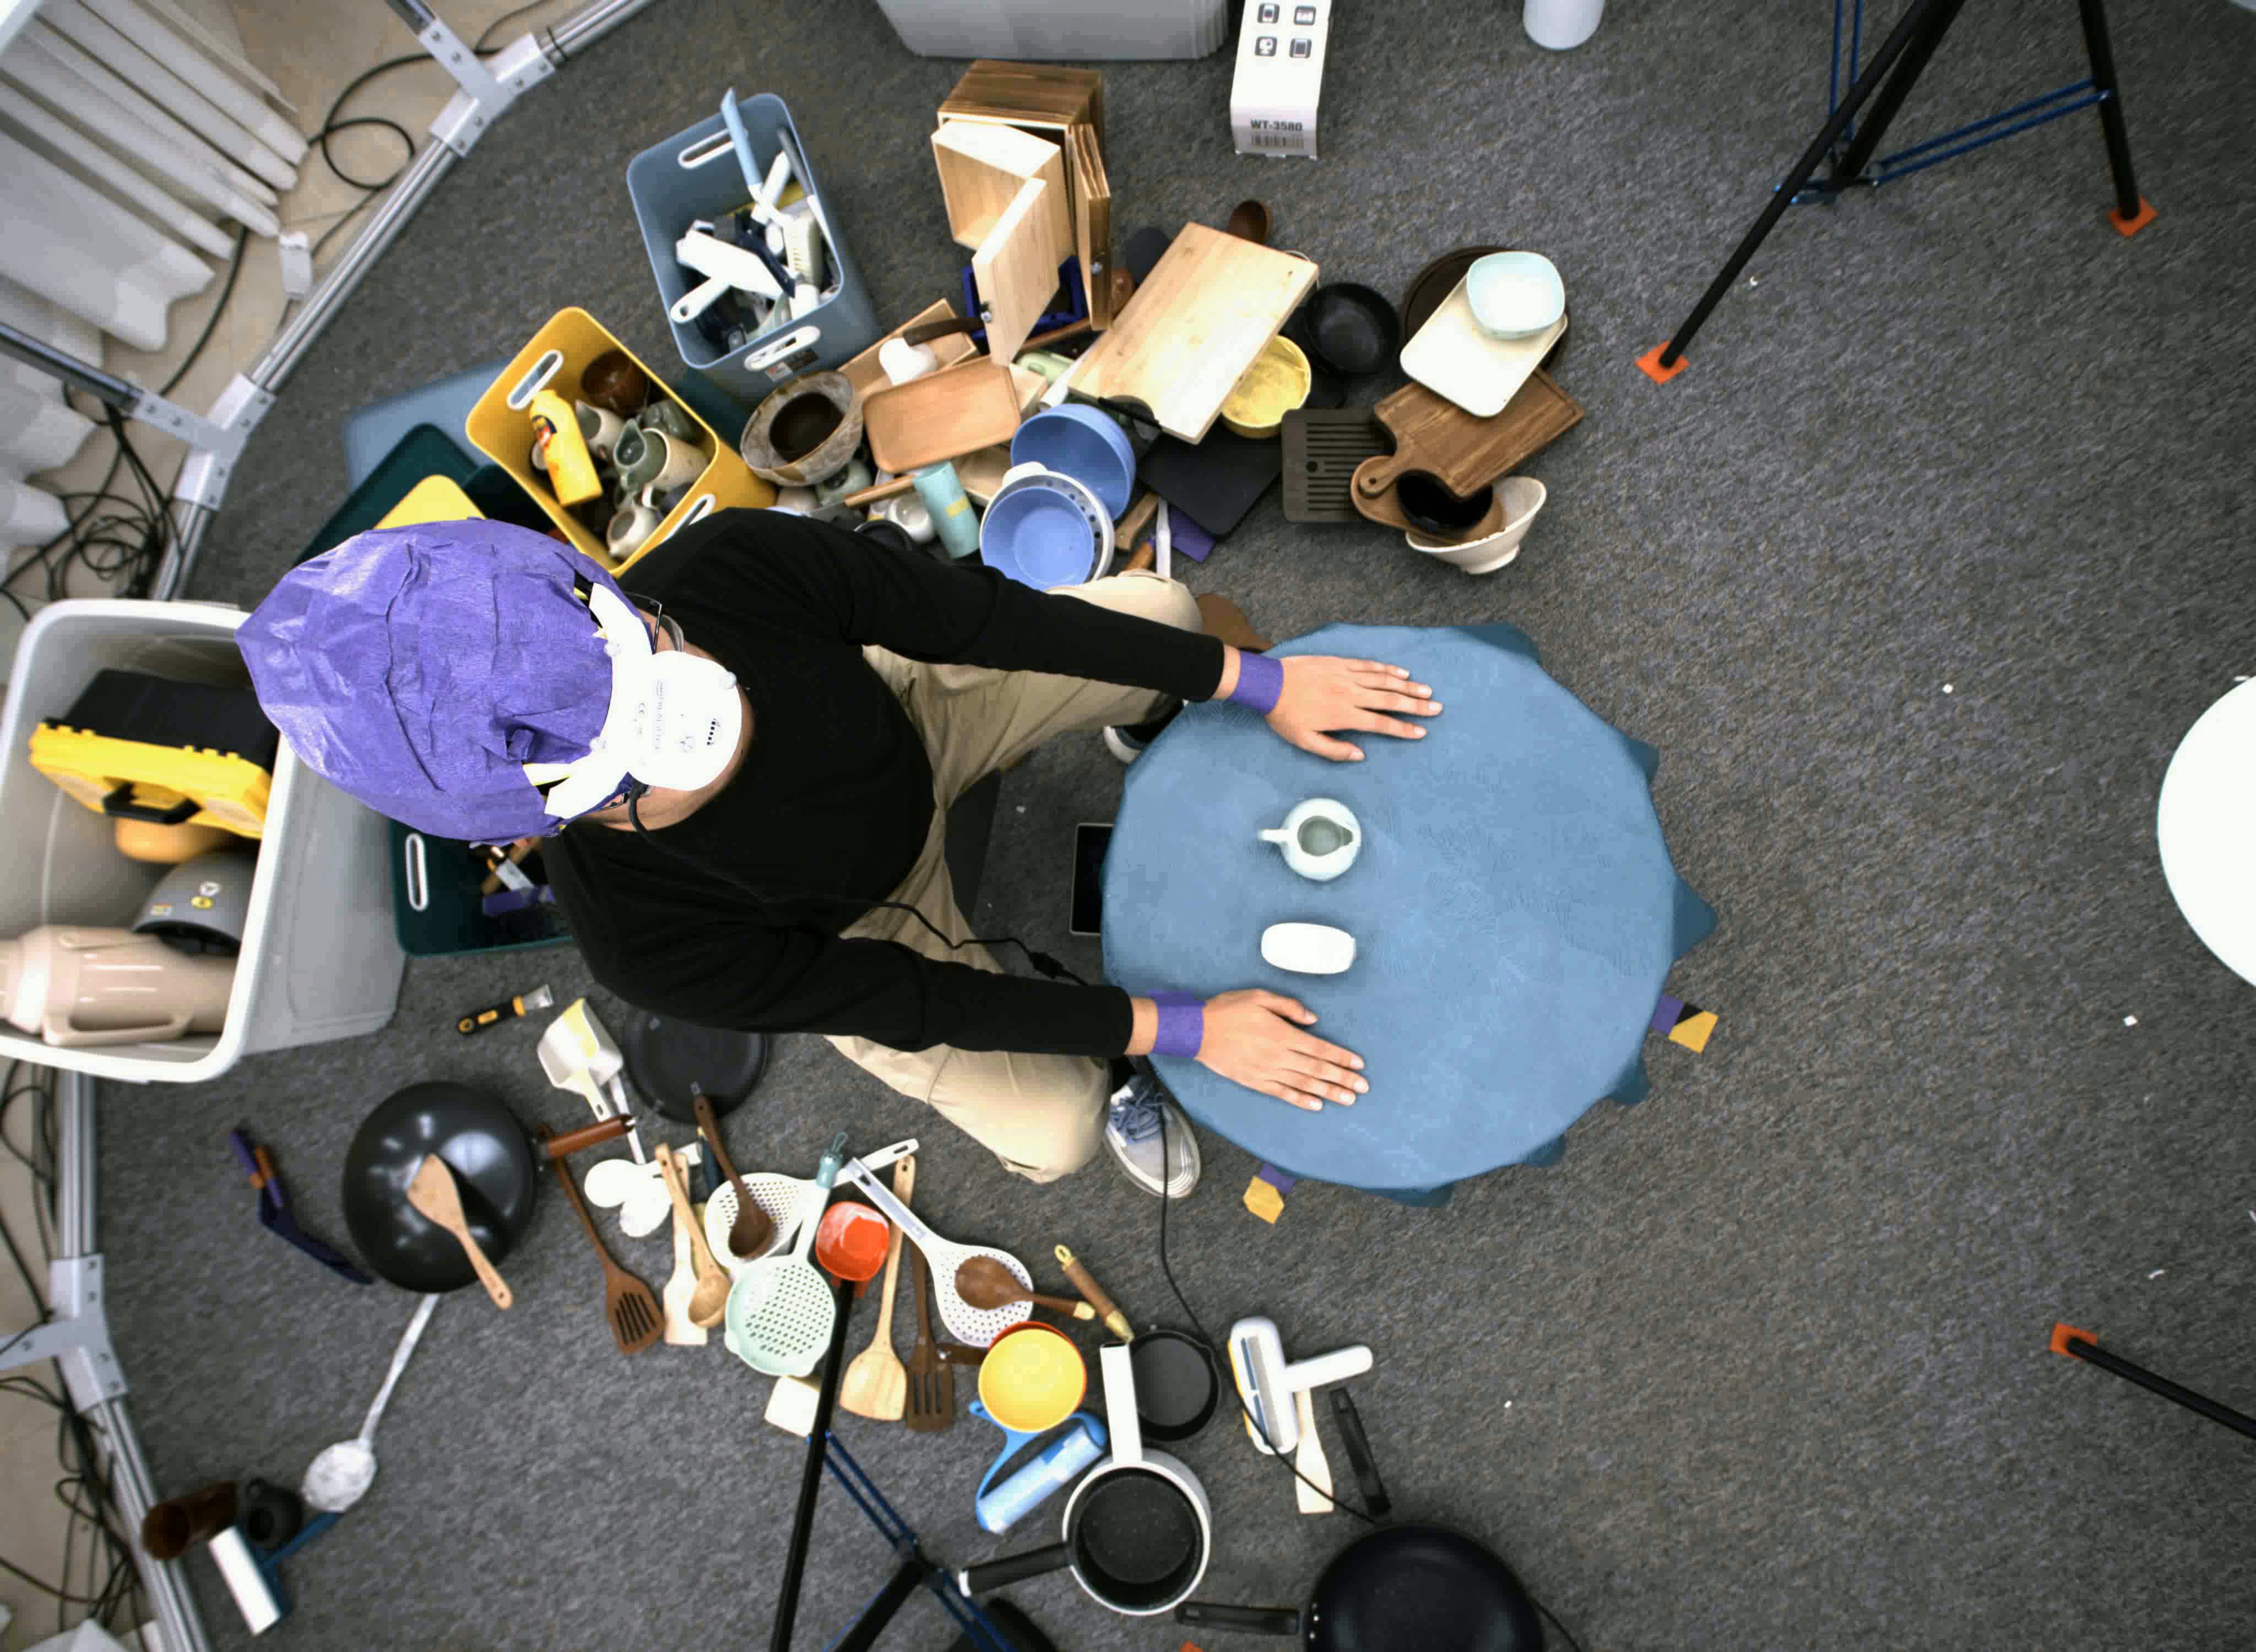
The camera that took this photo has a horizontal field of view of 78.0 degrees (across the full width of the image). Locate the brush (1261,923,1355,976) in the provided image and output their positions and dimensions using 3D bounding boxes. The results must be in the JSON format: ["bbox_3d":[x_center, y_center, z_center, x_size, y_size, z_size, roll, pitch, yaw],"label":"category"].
[{"bbox_3d":[0.186,0.126,1.434,0.099,0.072,0.050,9,86,9],"label":"brush"}]

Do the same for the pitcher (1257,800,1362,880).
[{"bbox_3d":[0.190,0.013,1.449,0.108,0.060,0.085,-1,85,13],"label":"pitcher"}]
